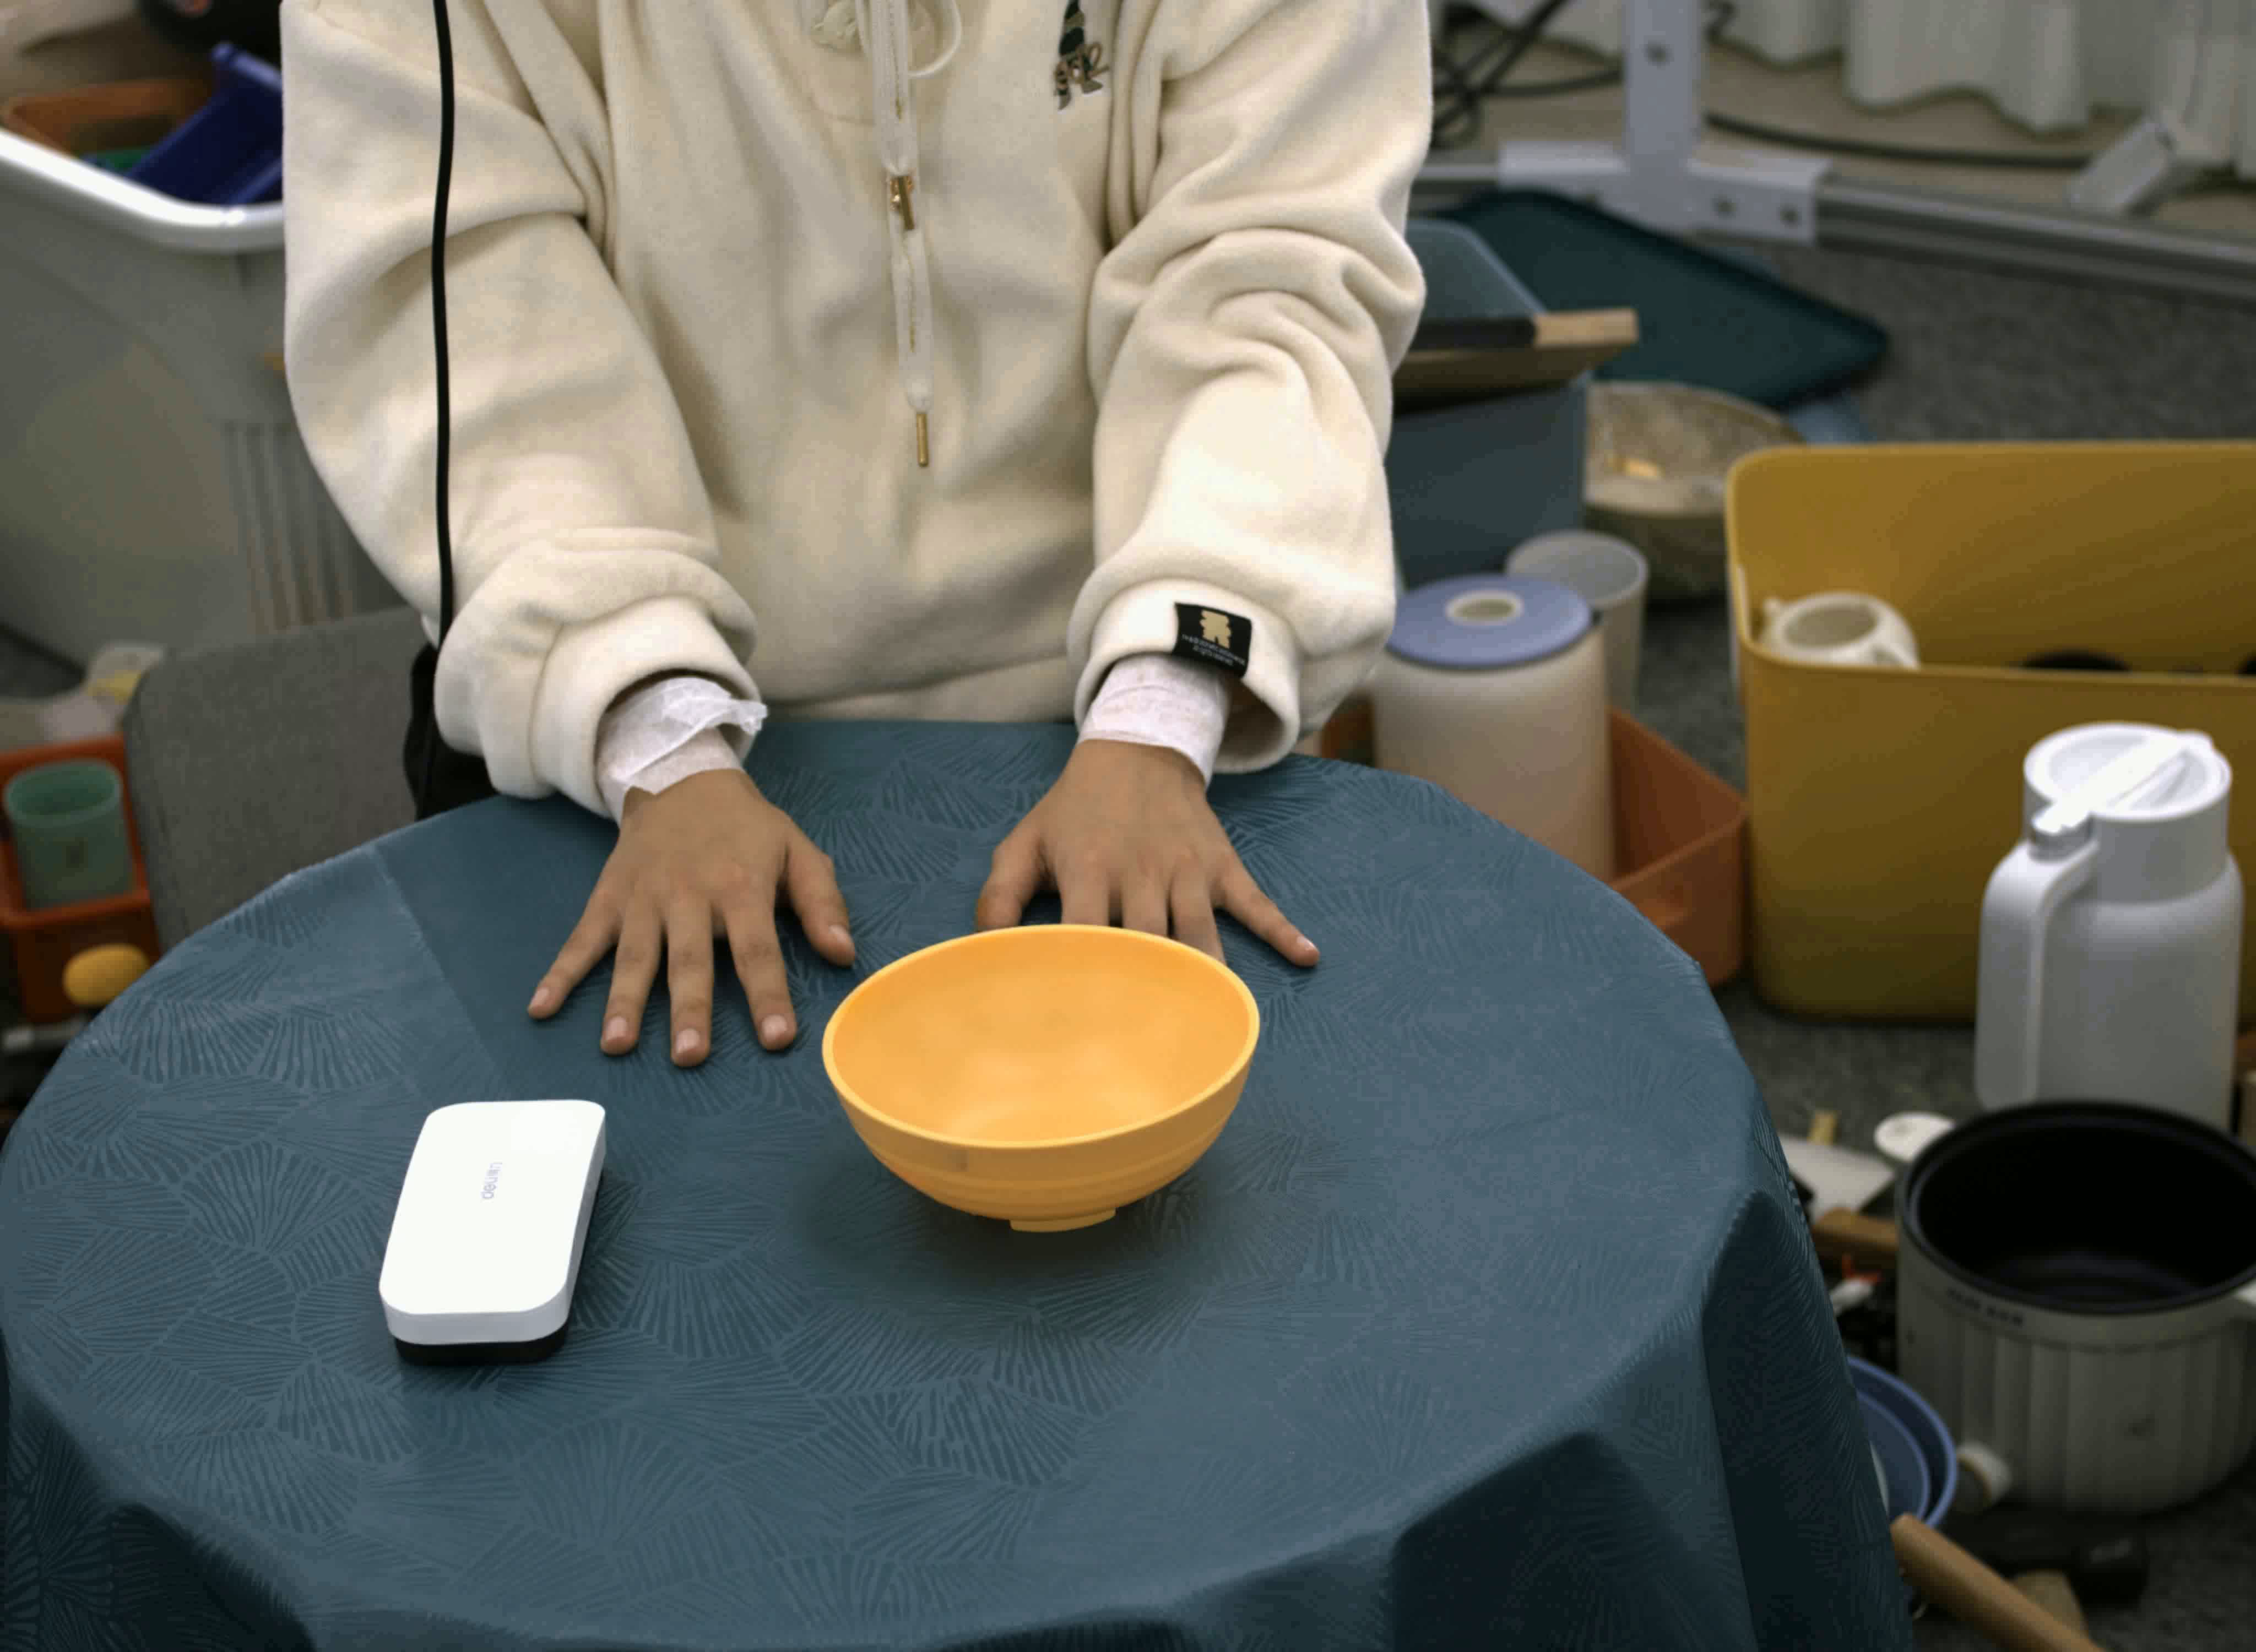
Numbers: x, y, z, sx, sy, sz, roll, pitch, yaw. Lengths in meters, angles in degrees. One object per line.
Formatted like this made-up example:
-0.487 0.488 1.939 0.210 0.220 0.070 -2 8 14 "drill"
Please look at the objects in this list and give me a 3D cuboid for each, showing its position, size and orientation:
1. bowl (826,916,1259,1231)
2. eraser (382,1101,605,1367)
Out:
-0.026 0.092 1.859 0.144 0.059 0.147 -3 29 2 "bowl"
-0.204 0.130 1.833 0.063 0.034 0.133 -1 28 3 "eraser"
